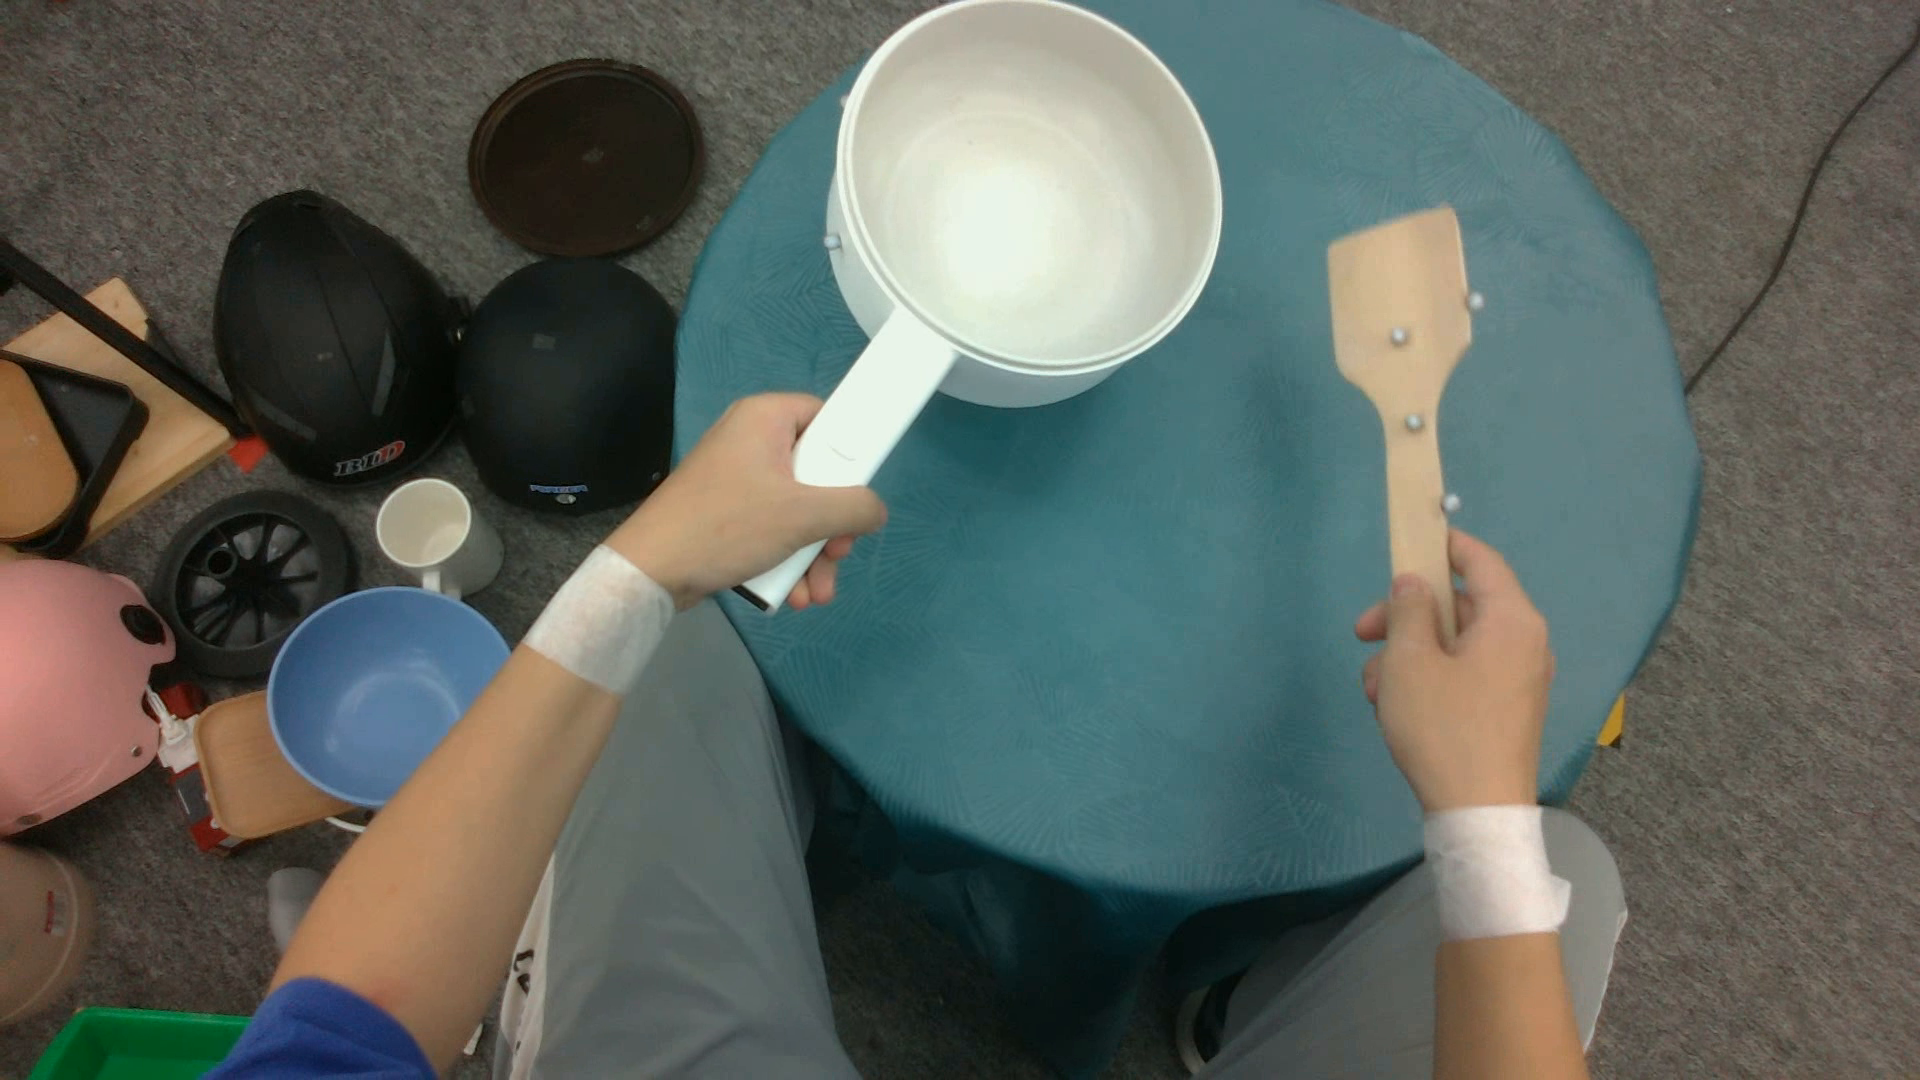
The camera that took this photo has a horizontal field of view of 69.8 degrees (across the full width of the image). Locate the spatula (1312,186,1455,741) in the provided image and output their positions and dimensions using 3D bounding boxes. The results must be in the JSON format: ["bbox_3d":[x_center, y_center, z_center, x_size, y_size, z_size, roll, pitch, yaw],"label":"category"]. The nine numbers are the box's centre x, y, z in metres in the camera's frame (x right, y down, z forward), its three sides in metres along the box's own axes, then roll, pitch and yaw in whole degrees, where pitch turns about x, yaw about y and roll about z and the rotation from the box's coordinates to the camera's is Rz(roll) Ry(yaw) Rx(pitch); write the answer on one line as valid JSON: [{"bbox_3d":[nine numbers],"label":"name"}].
[{"bbox_3d":[0.220,-0.044,0.689,0.072,0.010,0.294,-16,63,37],"label":"spatula"}]

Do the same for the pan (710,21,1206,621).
[{"bbox_3d":[-0.015,-0.107,0.731,0.201,0.102,0.356,35,72,-7],"label":"pan"}]
